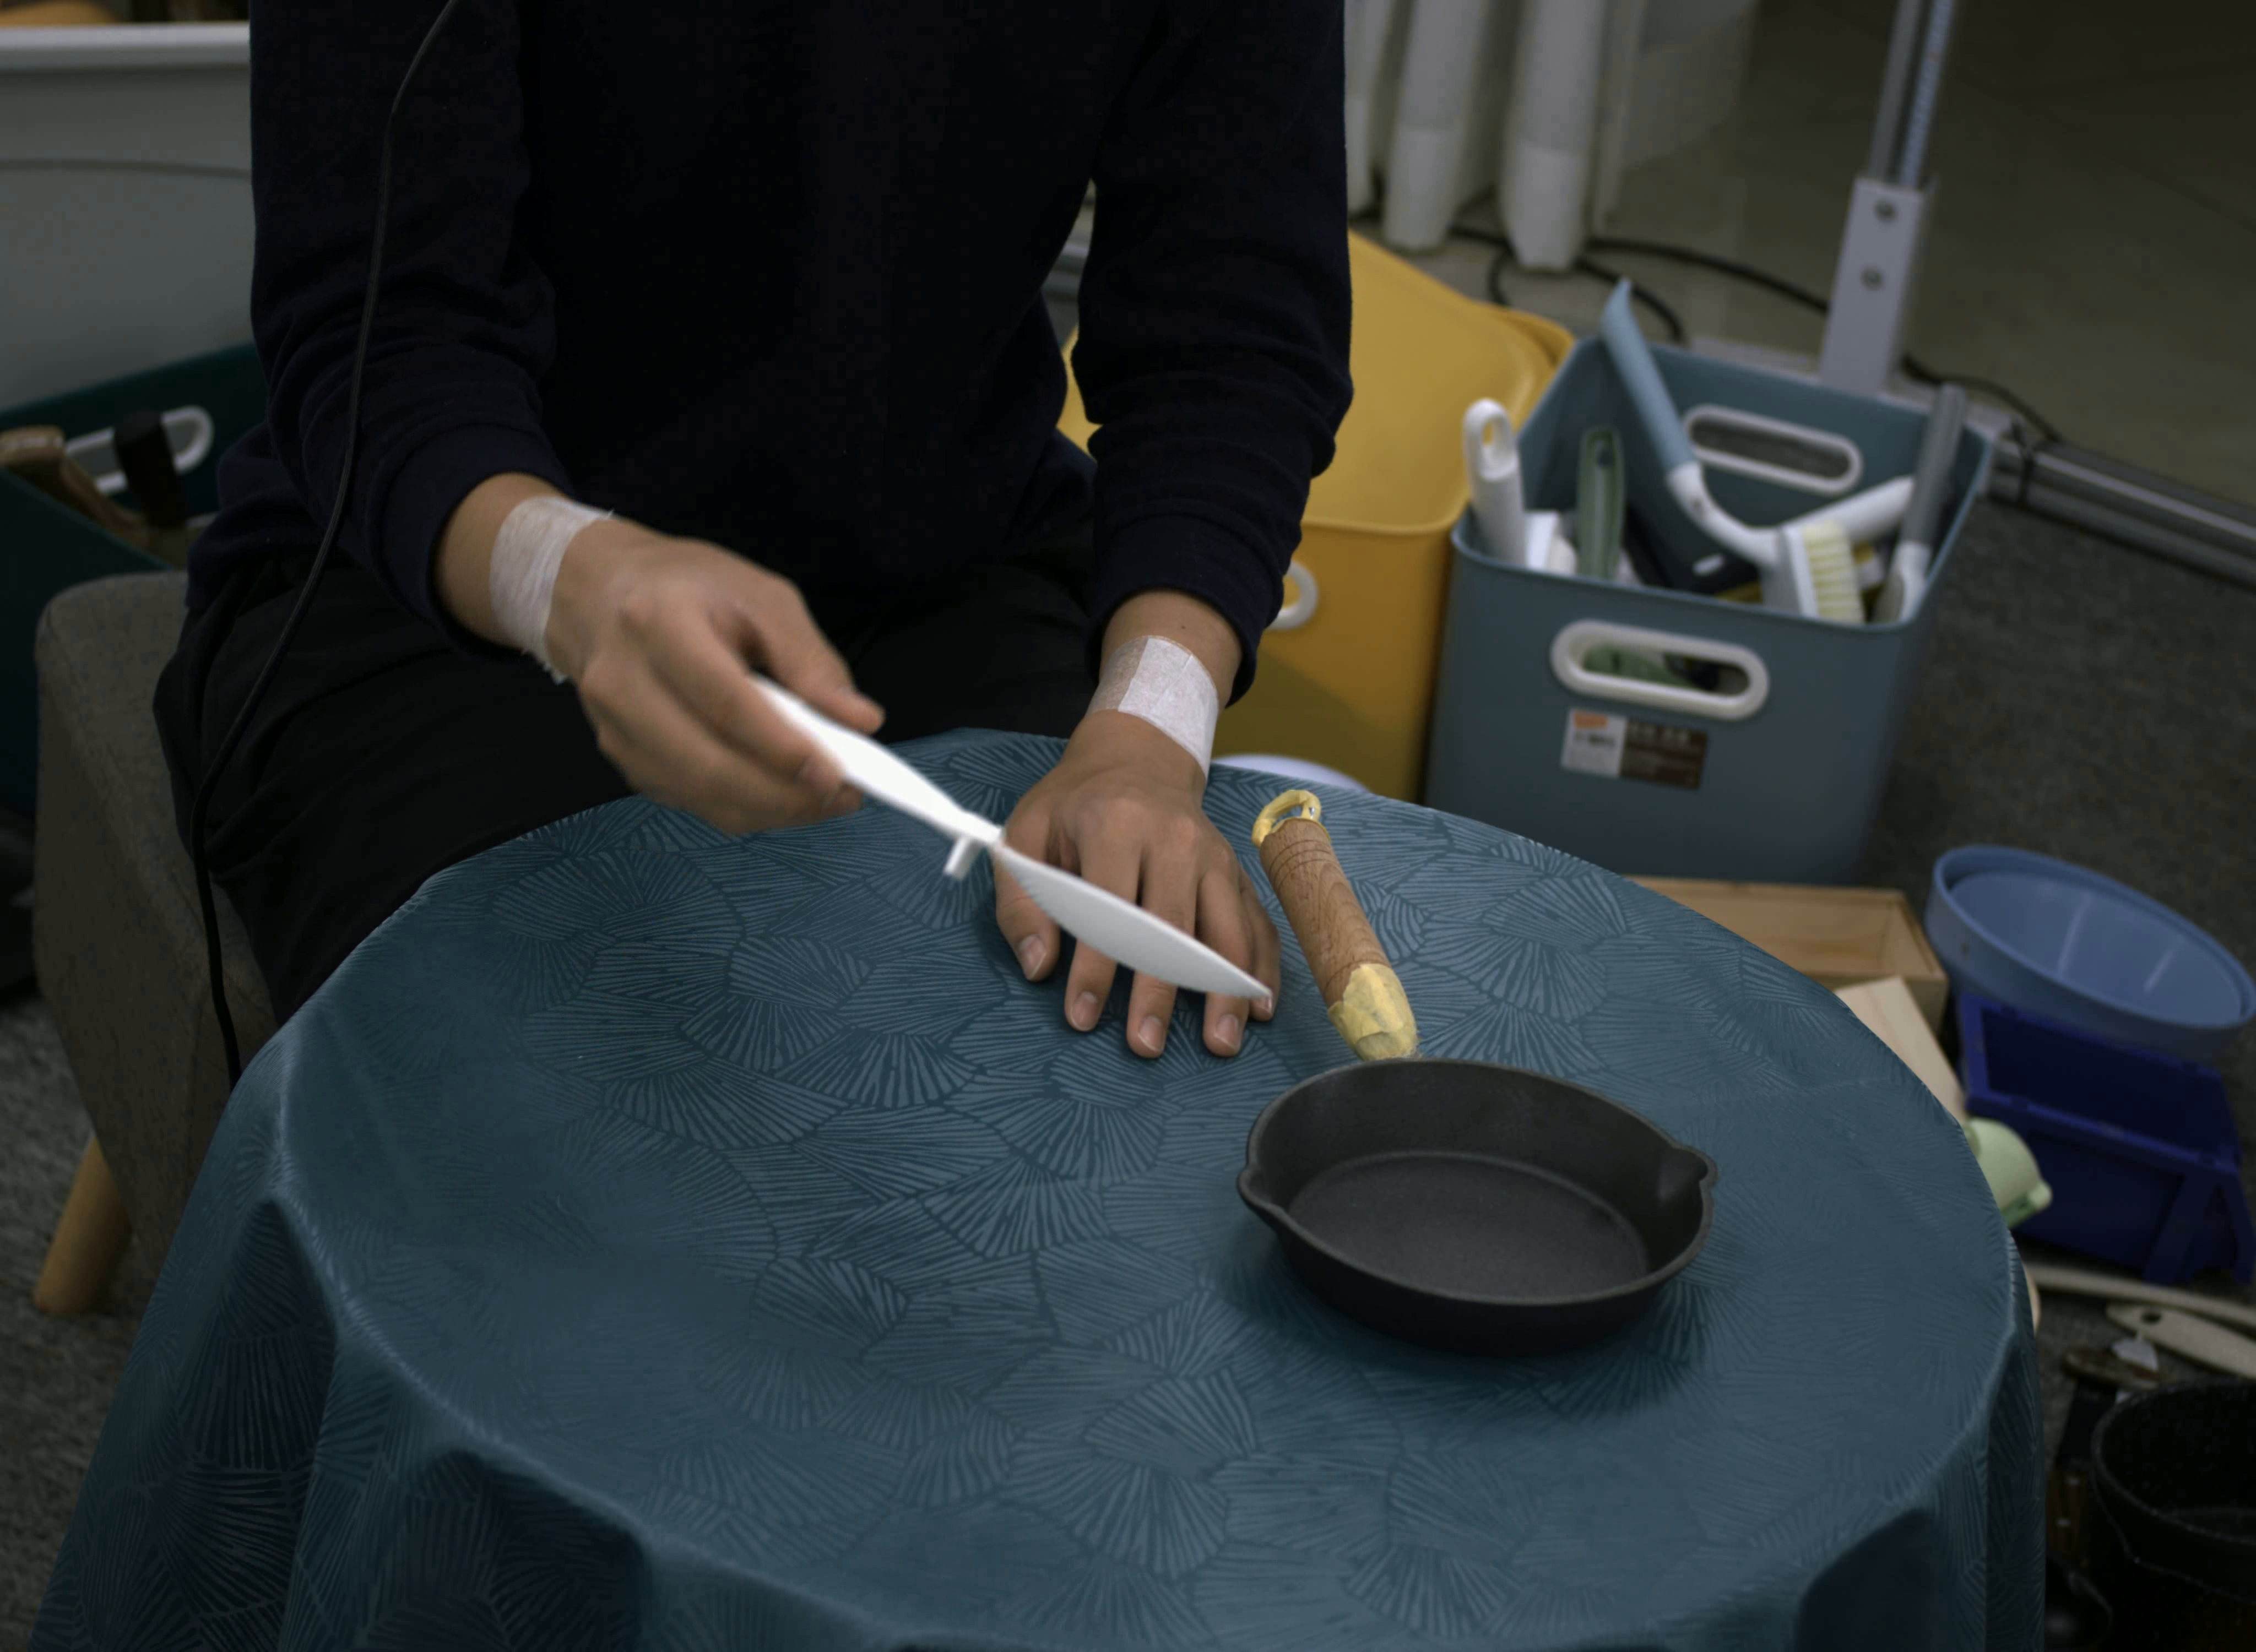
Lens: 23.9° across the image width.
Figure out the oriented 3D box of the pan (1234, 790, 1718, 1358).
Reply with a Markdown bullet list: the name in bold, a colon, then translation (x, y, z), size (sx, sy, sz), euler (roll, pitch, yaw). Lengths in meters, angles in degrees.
- **pan**: translation (0.096, 0.083, 1.848), size (0.168, 0.049, 0.327), euler (-1, 29, -15)

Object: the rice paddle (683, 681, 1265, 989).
- **rice paddle**: translation (-0.045, 0.006, 1.653), size (0.206, 0.029, 0.068), euler (24, 0, 21)
